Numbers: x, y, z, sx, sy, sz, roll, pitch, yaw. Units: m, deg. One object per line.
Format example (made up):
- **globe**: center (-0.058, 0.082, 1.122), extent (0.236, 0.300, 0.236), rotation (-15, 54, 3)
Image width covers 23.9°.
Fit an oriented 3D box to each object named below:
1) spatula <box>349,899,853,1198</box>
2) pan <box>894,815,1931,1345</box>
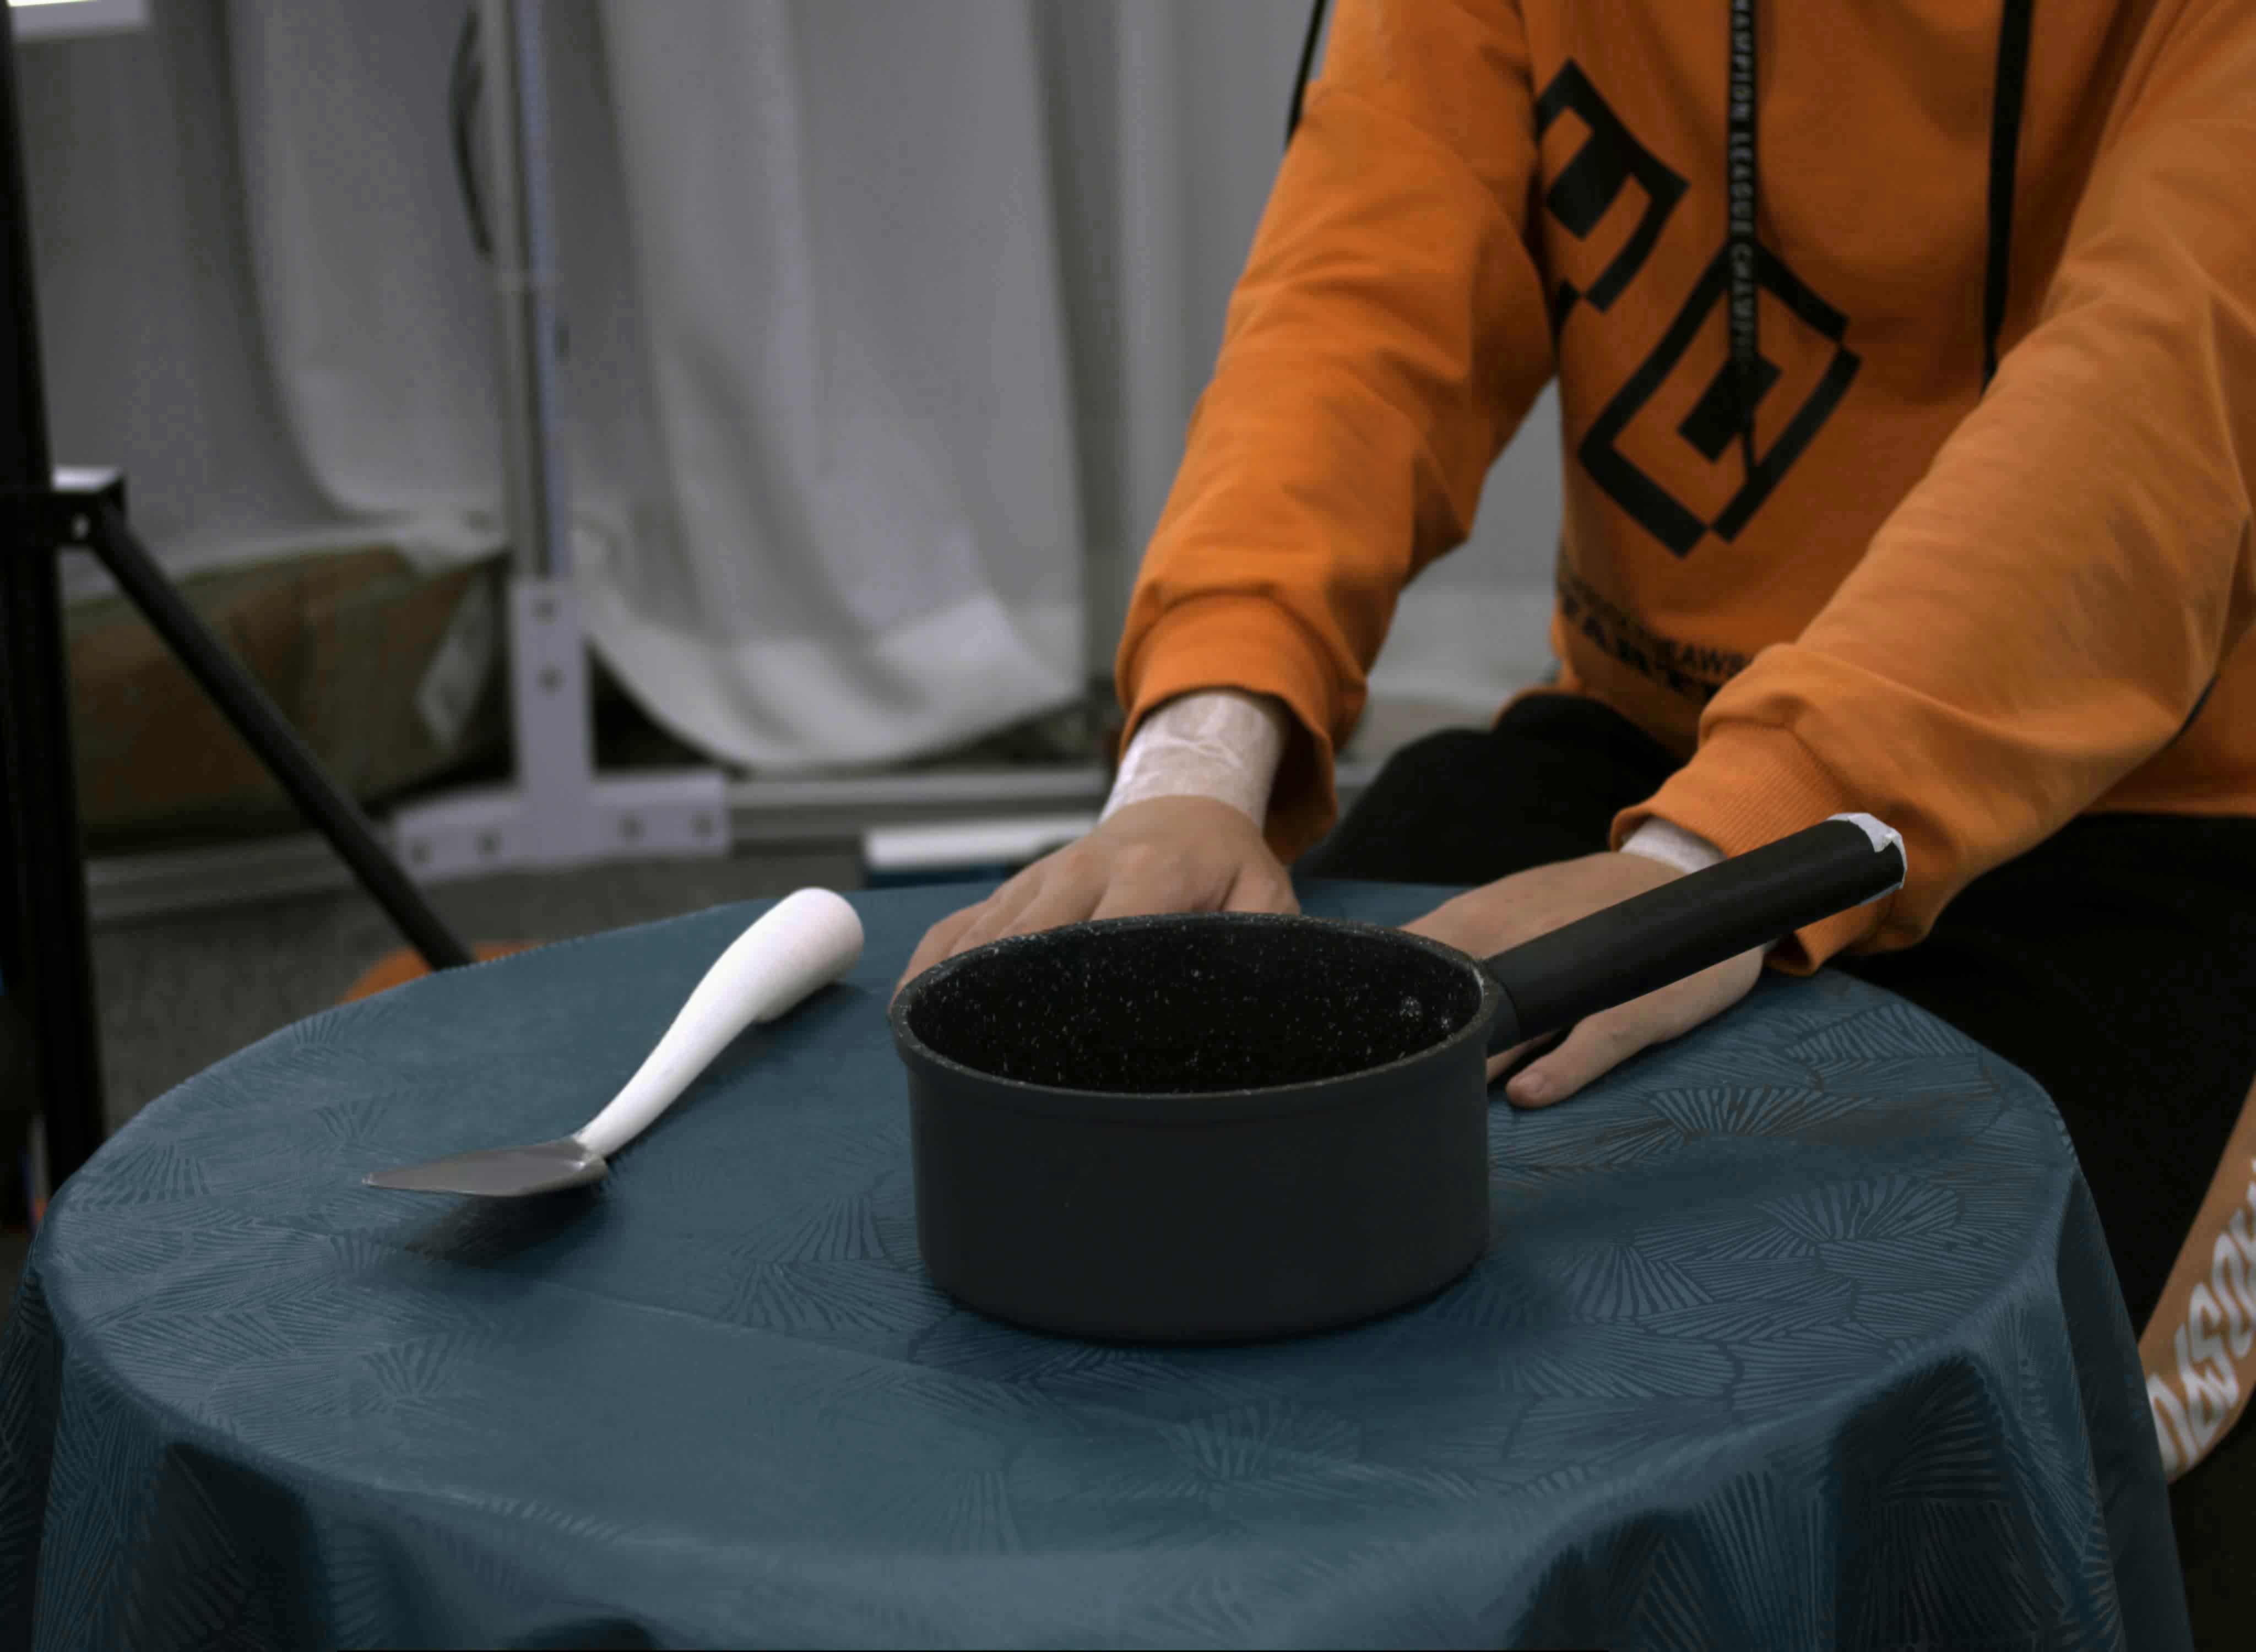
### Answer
- **spatula**: center (-0.151, 0.076, 1.640), extent (0.059, 0.032, 0.284), rotation (6, 17, 18)
- **pan**: center (0.090, 0.068, 1.528), extent (0.322, 0.086, 0.175), rotation (-12, 18, -24)
